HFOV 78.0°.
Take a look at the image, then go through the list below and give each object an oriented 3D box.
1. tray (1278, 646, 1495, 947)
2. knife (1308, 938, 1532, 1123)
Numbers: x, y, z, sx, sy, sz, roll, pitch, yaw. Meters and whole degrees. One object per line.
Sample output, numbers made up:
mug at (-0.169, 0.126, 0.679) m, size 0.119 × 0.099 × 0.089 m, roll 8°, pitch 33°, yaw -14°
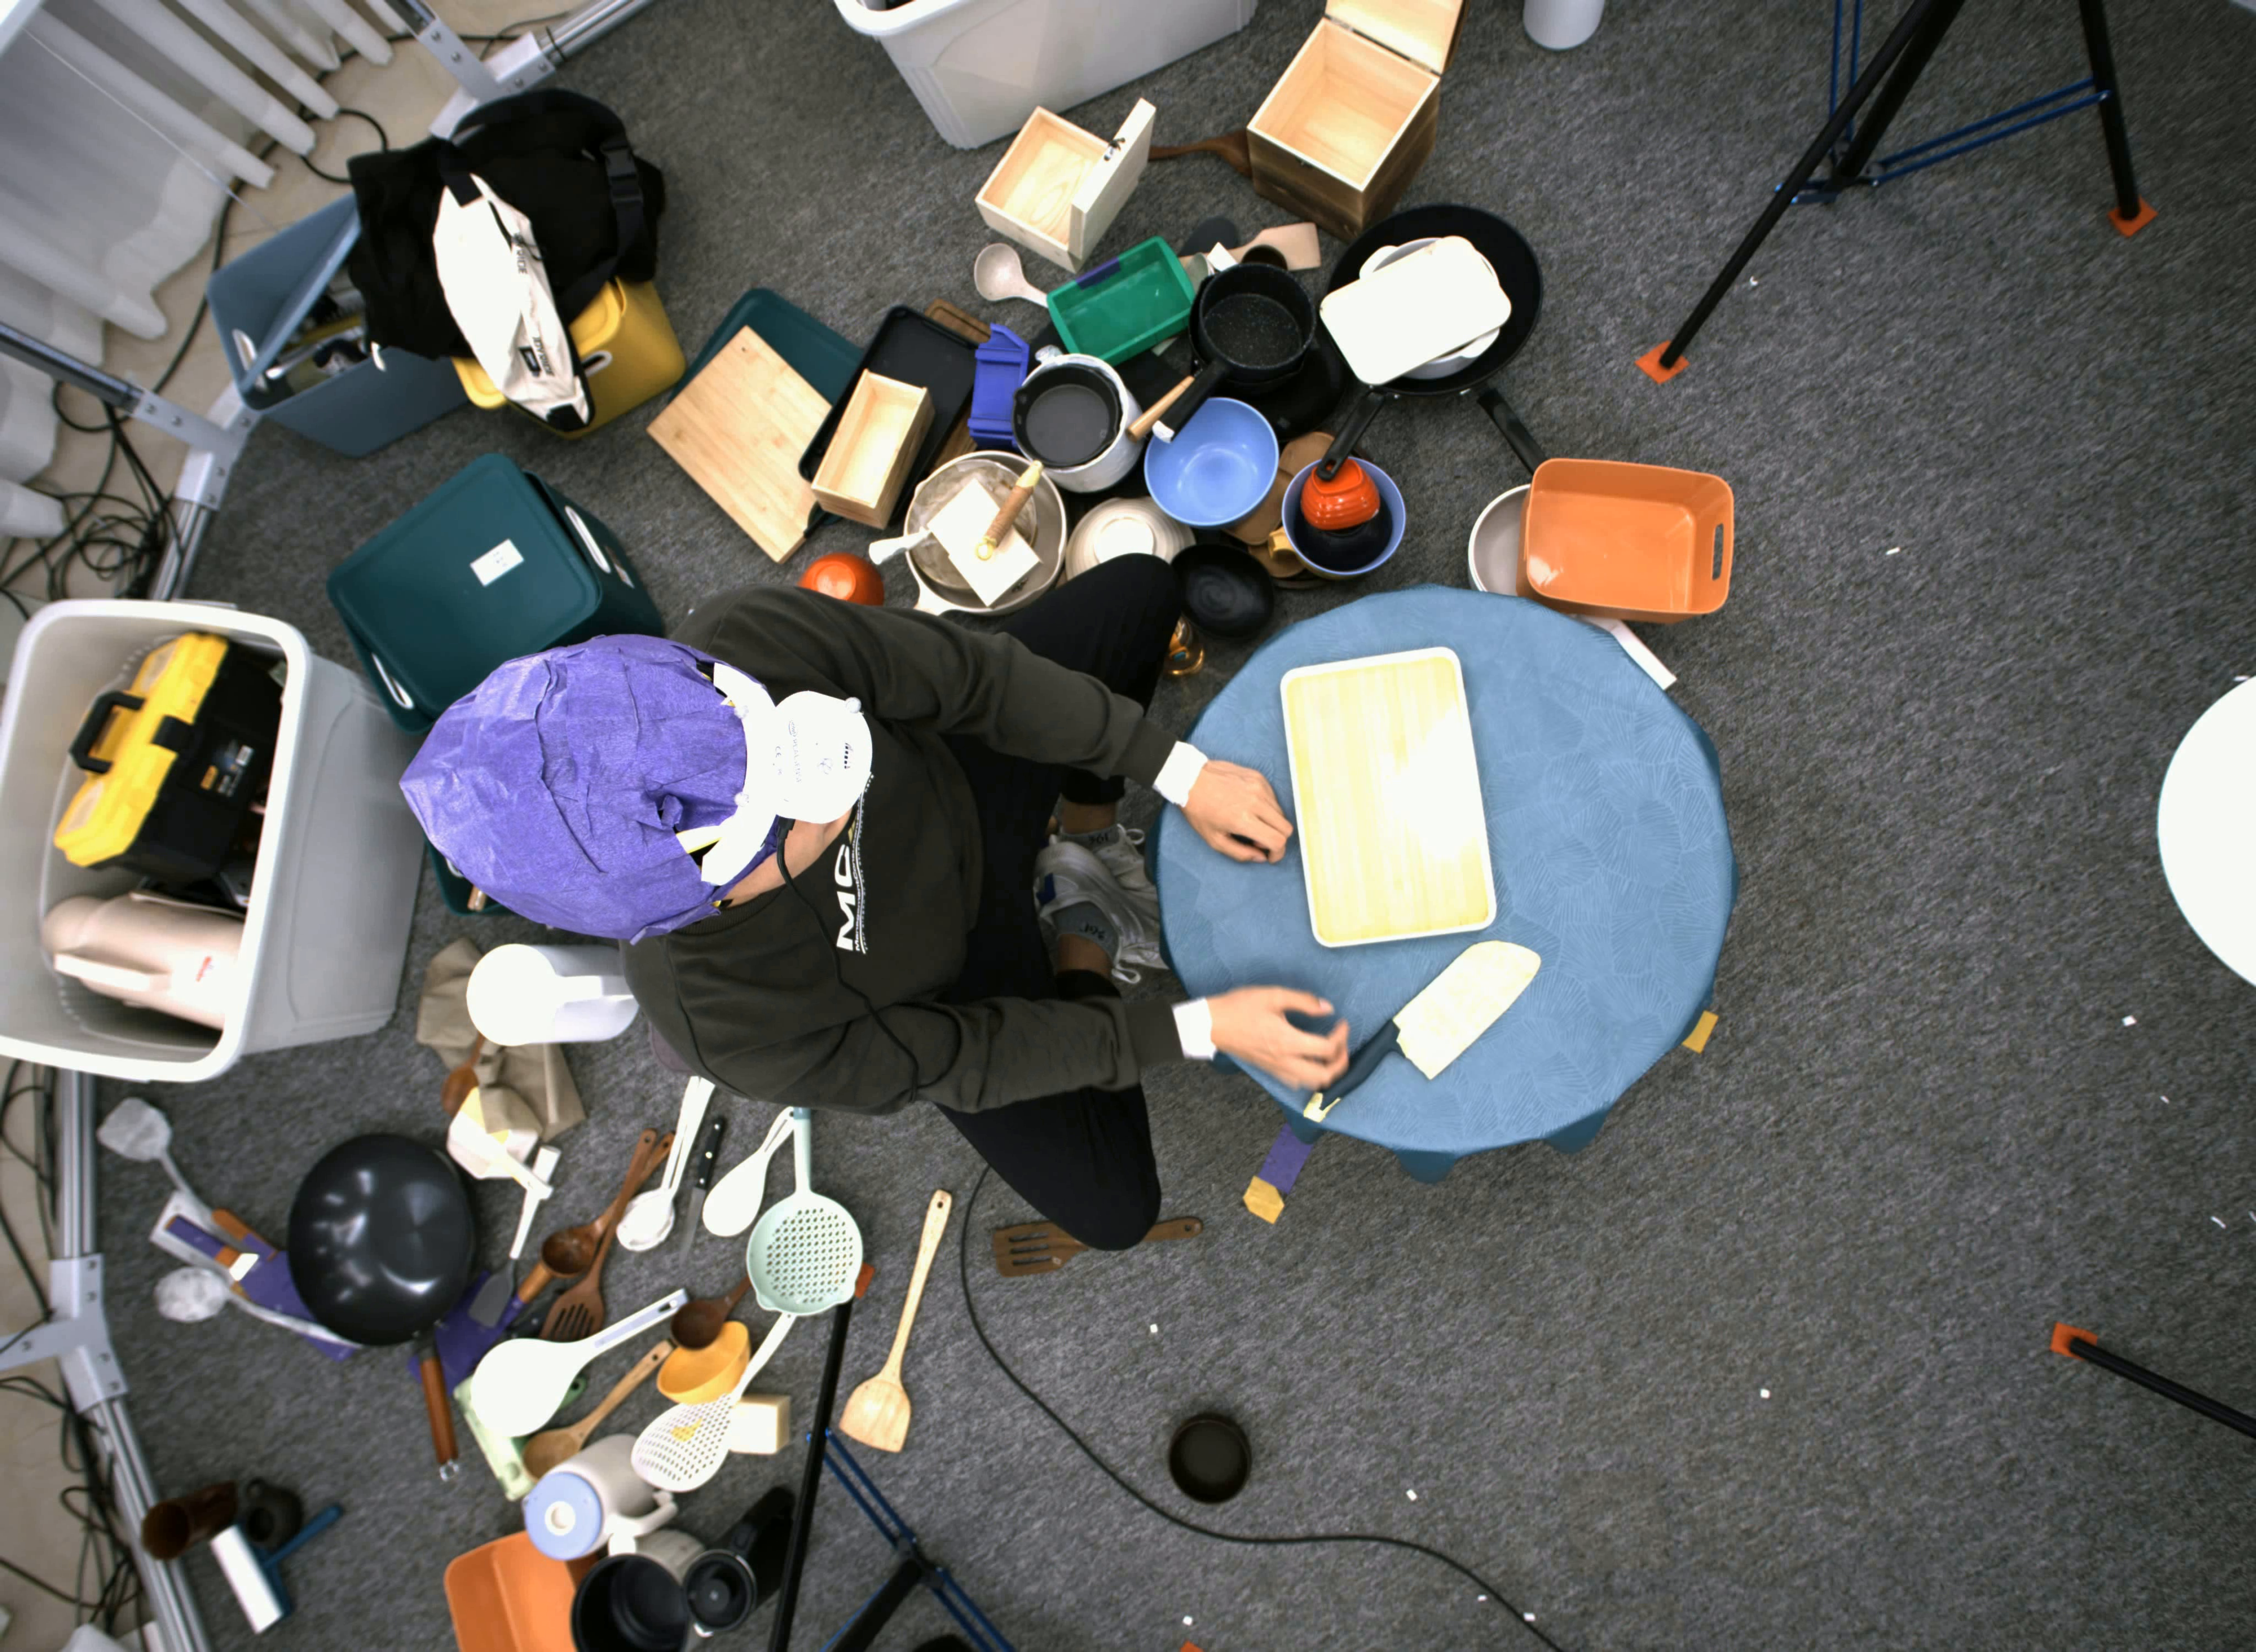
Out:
tray at (0.271, -0.032, 1.452) m, size 0.192 × 0.027 × 0.298 m, roll -8°, pitch 85°, yaw 11°
knife at (0.306, 0.217, 1.437) m, size 0.291 × 0.027 × 0.080 m, roll -41°, pitch 79°, yaw 5°
